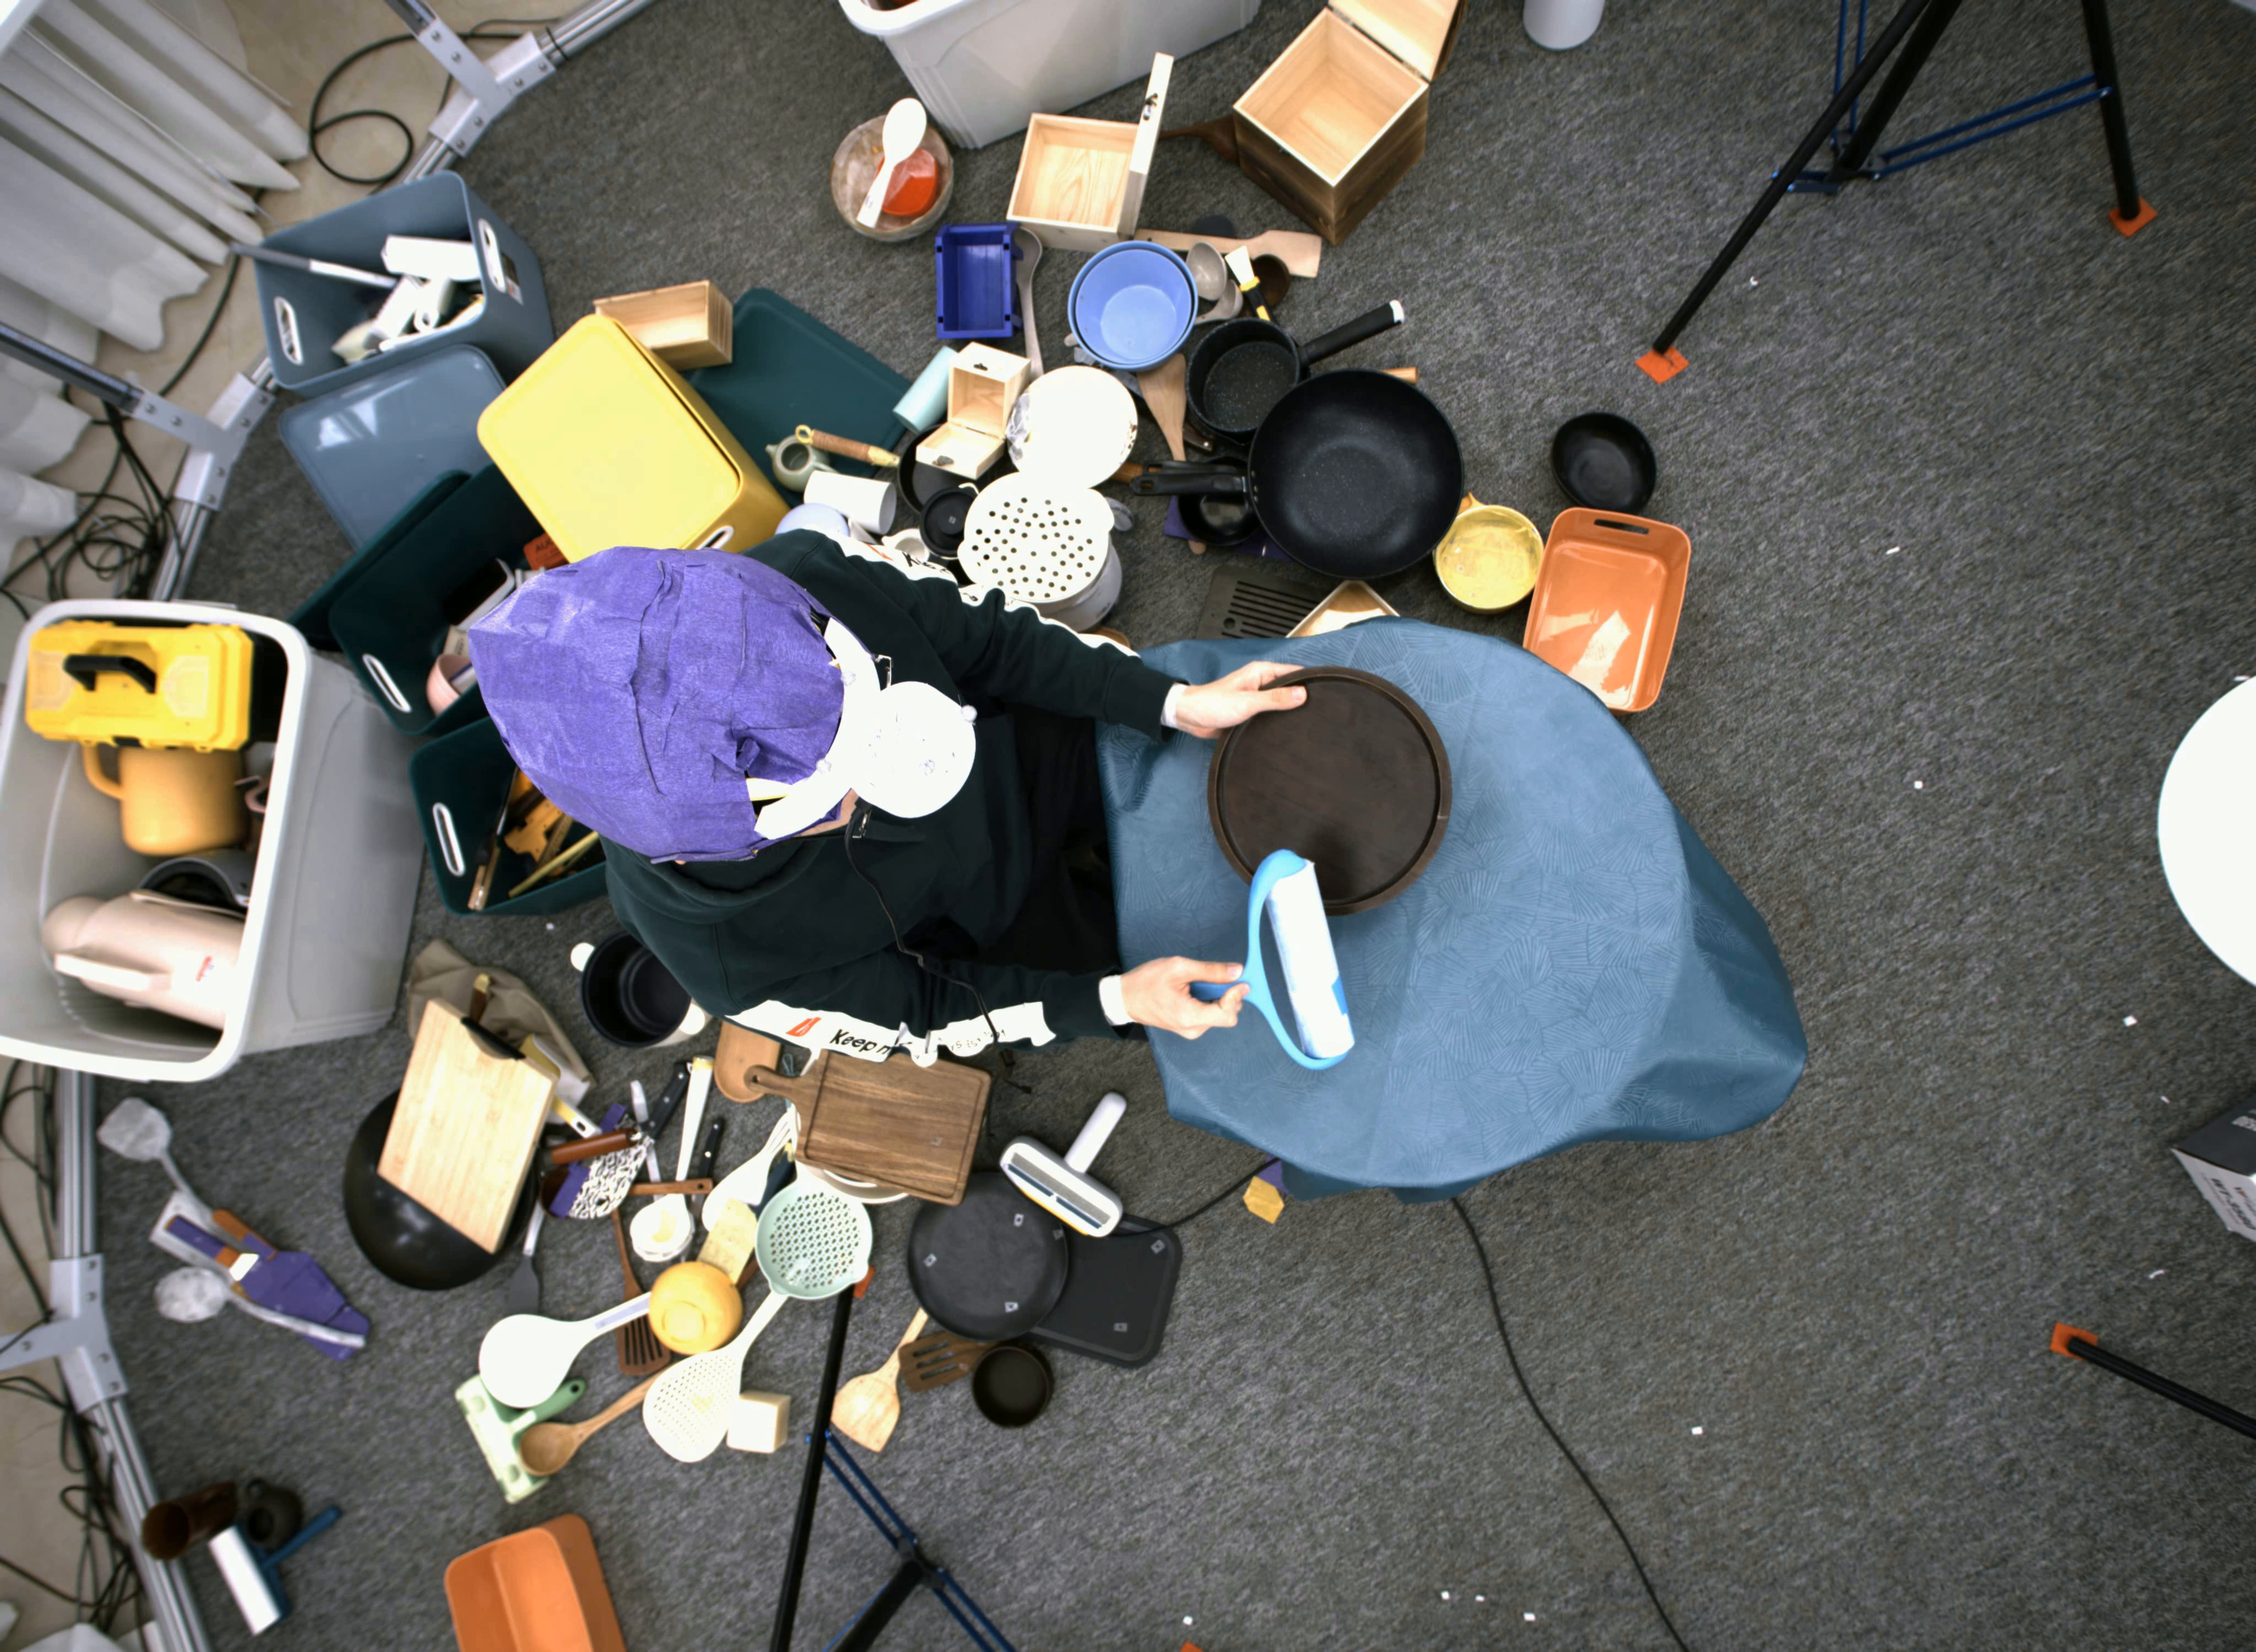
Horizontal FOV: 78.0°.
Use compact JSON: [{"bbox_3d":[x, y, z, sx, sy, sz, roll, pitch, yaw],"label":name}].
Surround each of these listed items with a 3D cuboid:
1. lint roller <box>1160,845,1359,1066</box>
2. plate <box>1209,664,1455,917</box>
[{"bbox_3d":[0.120,0.145,1.355,0.181,0.067,0.232,-18,109,5],"label":"lint roller"},{"bbox_3d":[0.202,-0.036,1.388,0.256,0.029,0.255,1,94,22],"label":"plate"}]
